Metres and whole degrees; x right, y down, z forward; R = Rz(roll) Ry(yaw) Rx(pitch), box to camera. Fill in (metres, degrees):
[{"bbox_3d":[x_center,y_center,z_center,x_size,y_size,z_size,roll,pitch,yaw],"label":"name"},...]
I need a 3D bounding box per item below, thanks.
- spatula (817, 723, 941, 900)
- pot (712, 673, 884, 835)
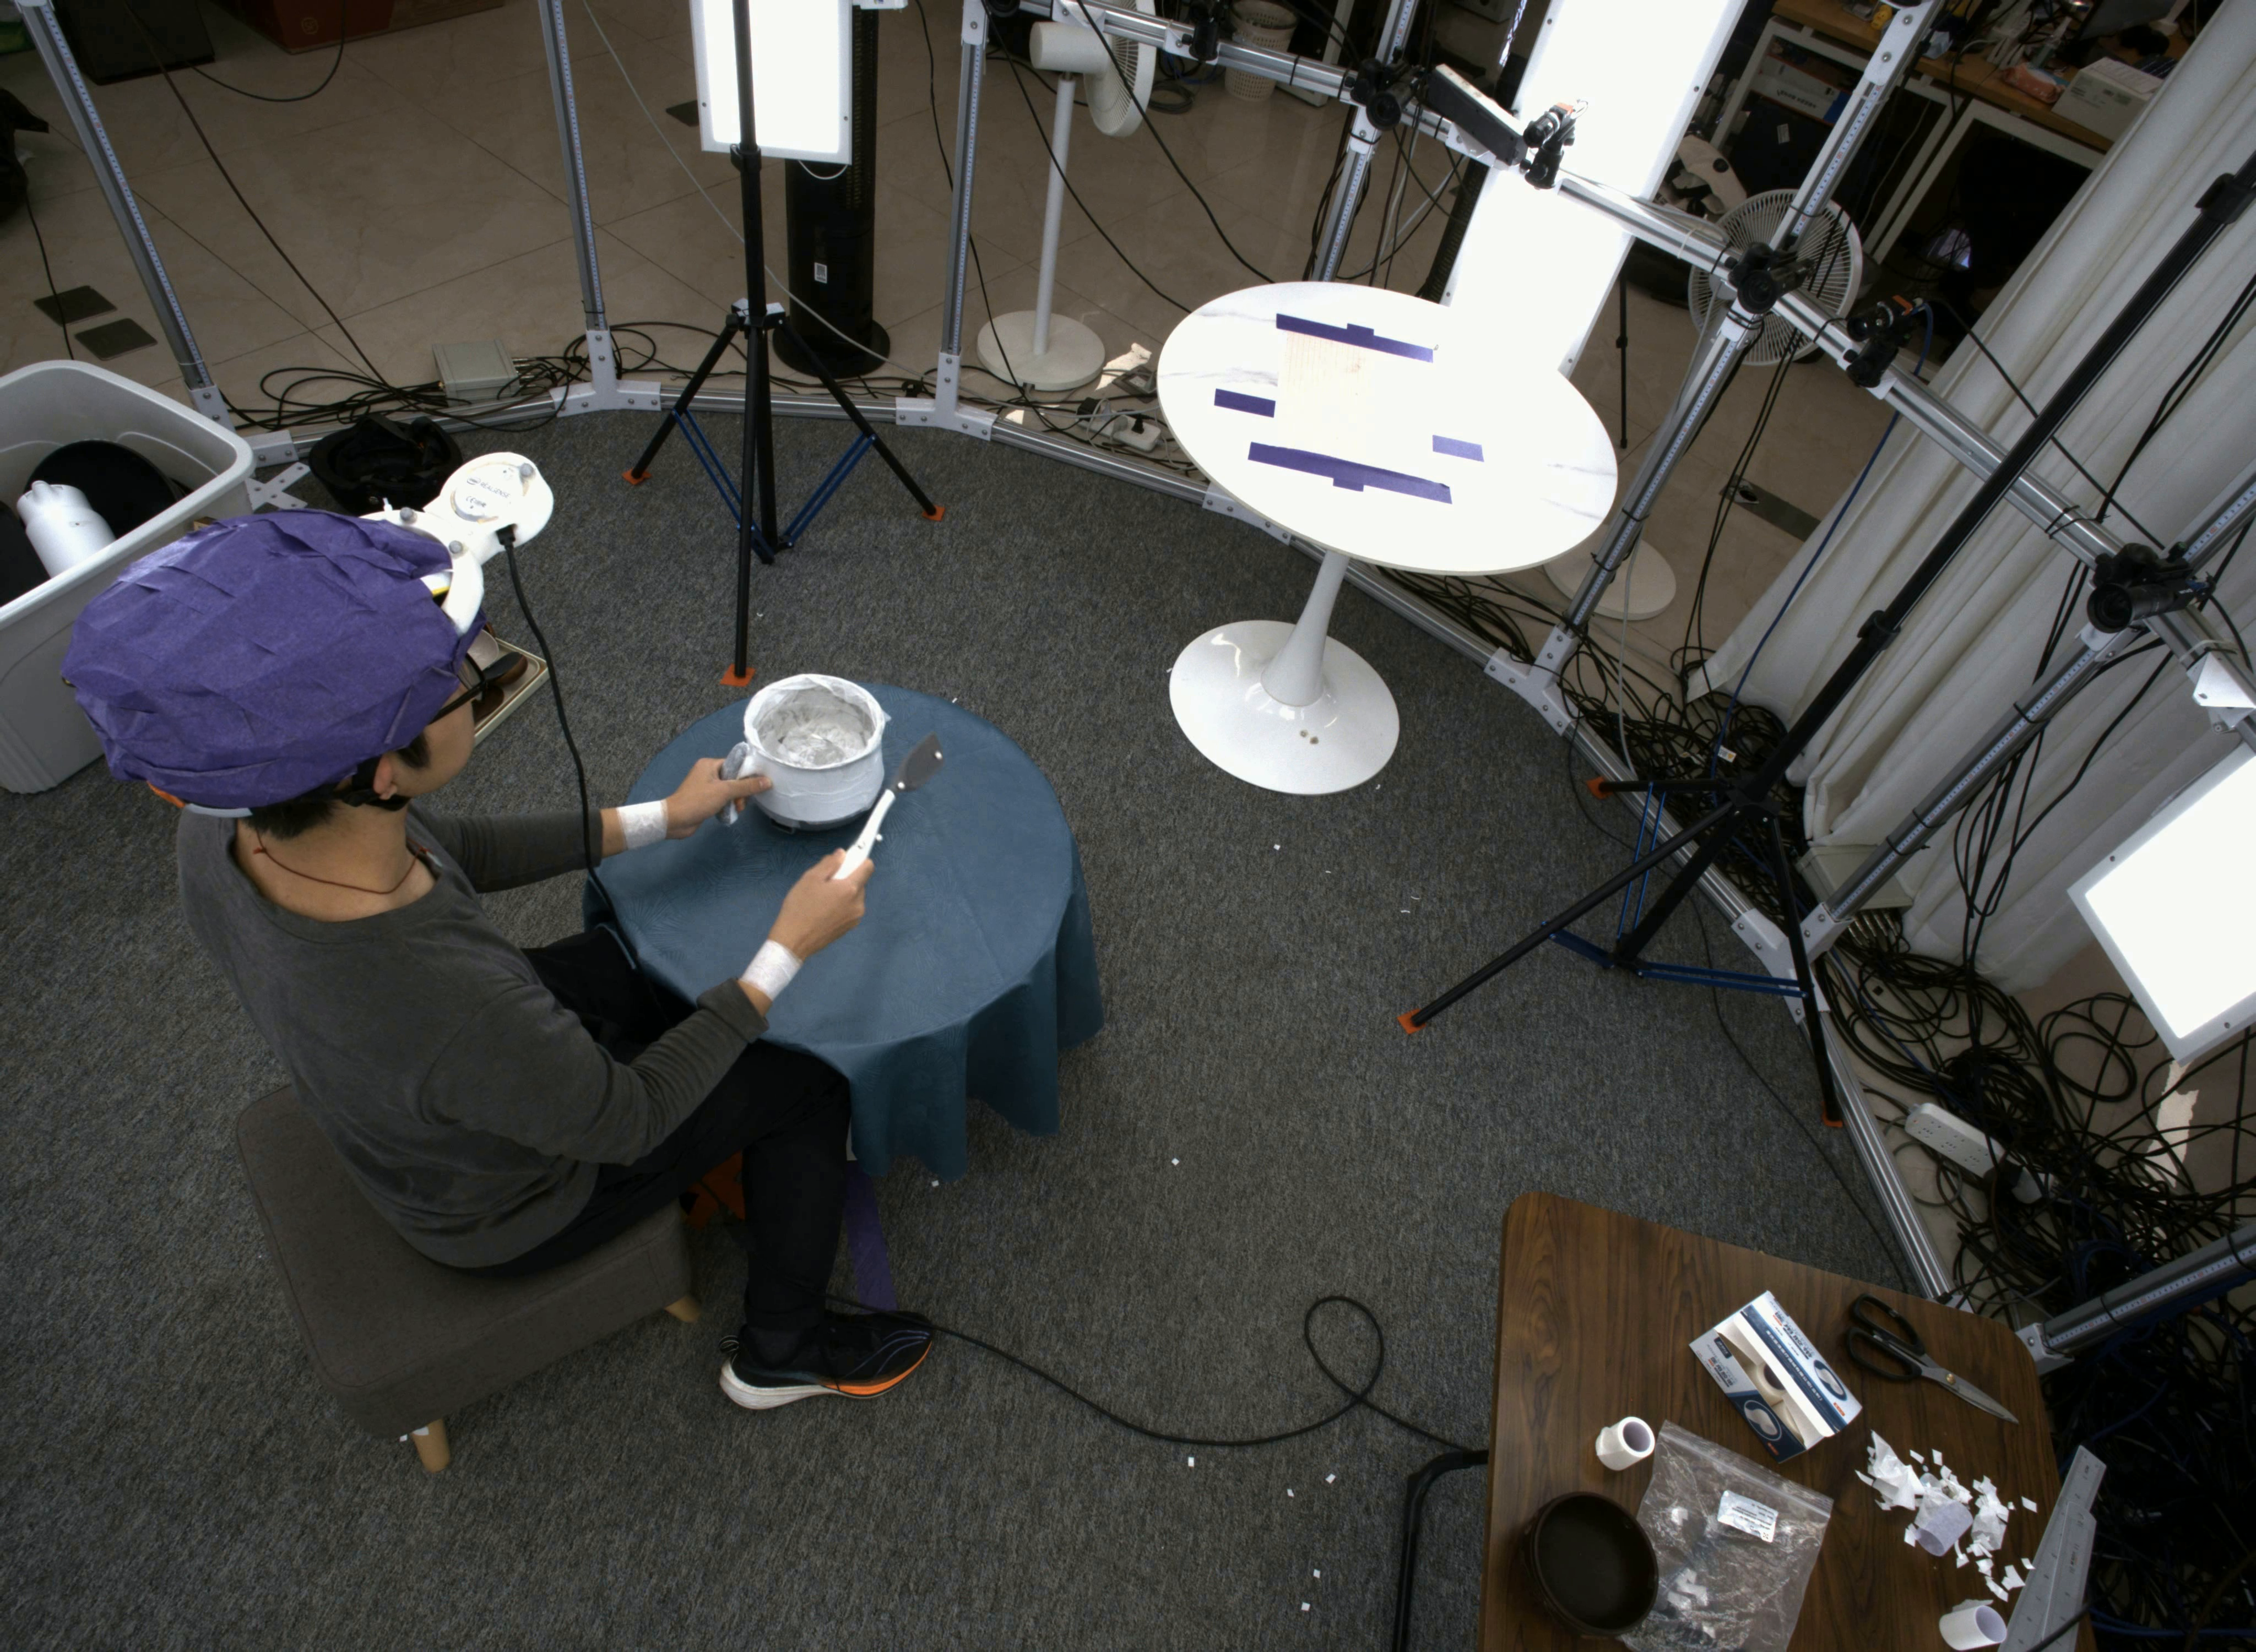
[{"bbox_3d":[-0.295,-0.021,1.560,0.031,0.061,0.284,-1,40,23],"label":"spatula"},{"bbox_3d":[-0.433,-0.083,1.690,0.235,0.140,0.173,-28,59,-33],"label":"pot"}]
